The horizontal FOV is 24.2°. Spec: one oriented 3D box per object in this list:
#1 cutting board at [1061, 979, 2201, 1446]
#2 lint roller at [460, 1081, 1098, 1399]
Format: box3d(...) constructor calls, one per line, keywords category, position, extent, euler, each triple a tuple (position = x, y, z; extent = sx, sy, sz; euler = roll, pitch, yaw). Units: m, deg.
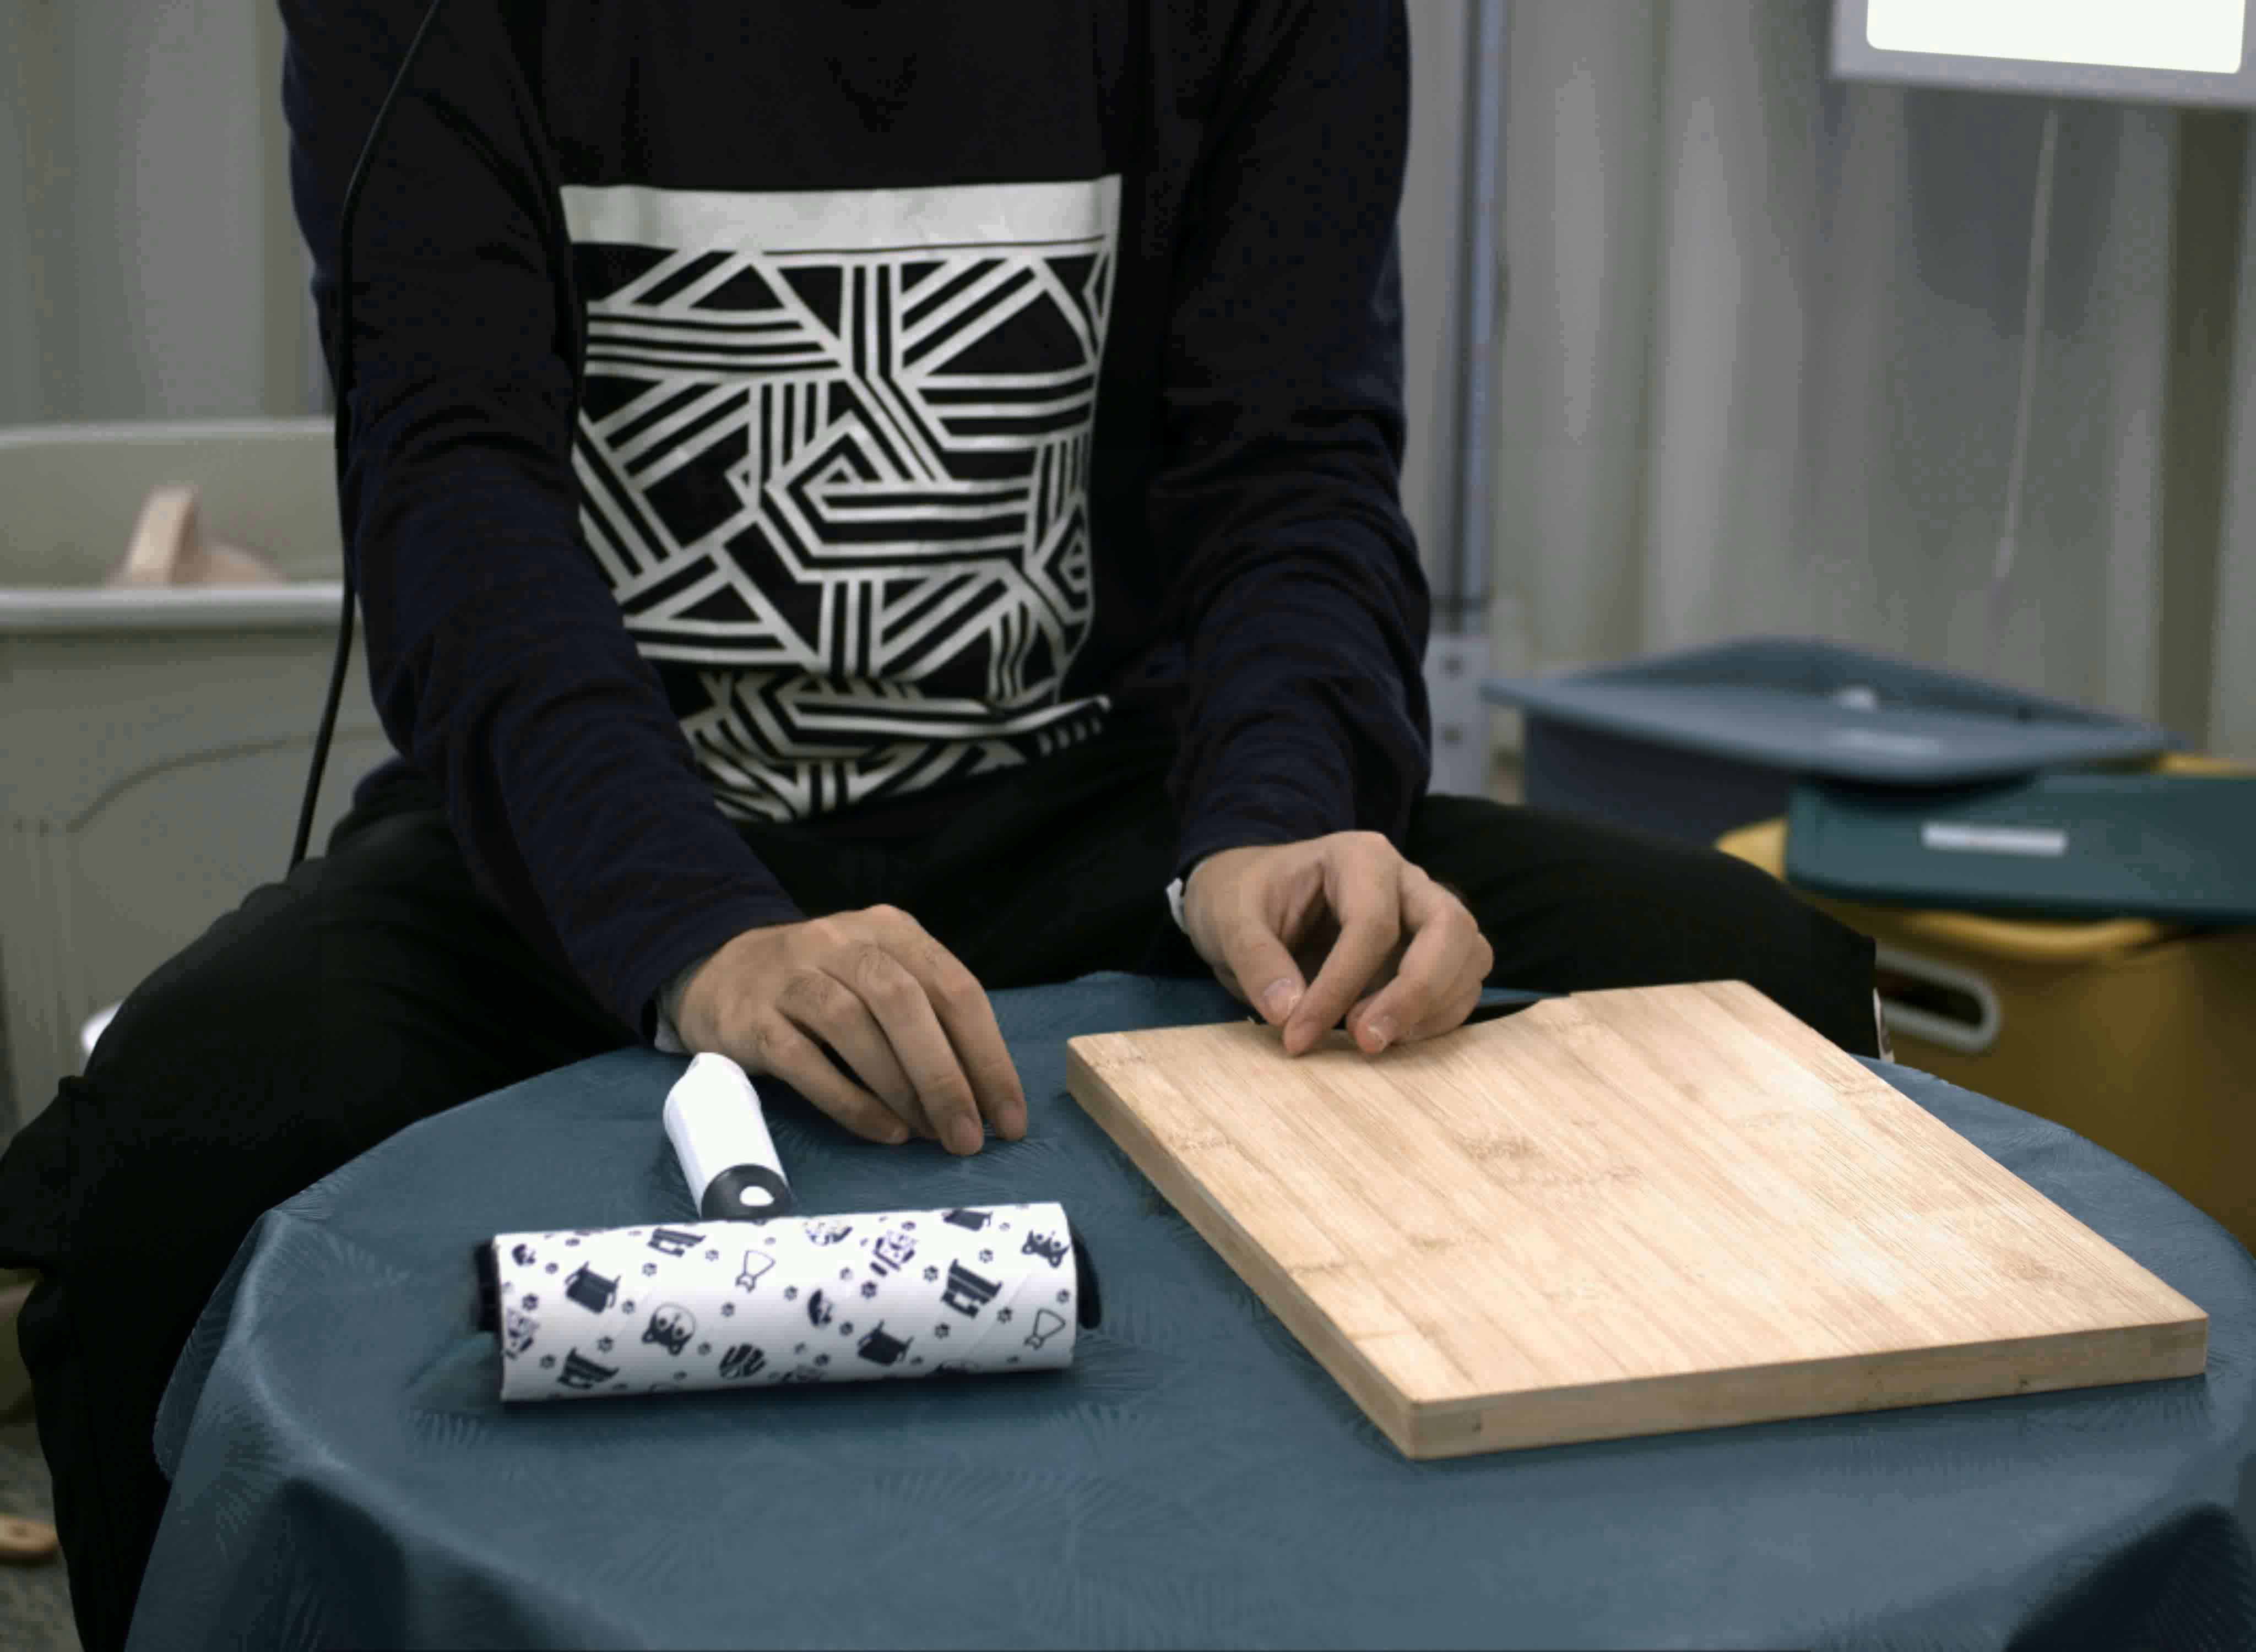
box3d(category="cutting board", position=(0.139, 0.111, 1.605), extent=(0.251, 0.024, 0.345), euler=(-4, 16, -17))
box3d(category="lint roller", position=(-0.116, 0.109, 1.557), extent=(0.176, 0.051, 0.245), euler=(-4, 13, -10))
